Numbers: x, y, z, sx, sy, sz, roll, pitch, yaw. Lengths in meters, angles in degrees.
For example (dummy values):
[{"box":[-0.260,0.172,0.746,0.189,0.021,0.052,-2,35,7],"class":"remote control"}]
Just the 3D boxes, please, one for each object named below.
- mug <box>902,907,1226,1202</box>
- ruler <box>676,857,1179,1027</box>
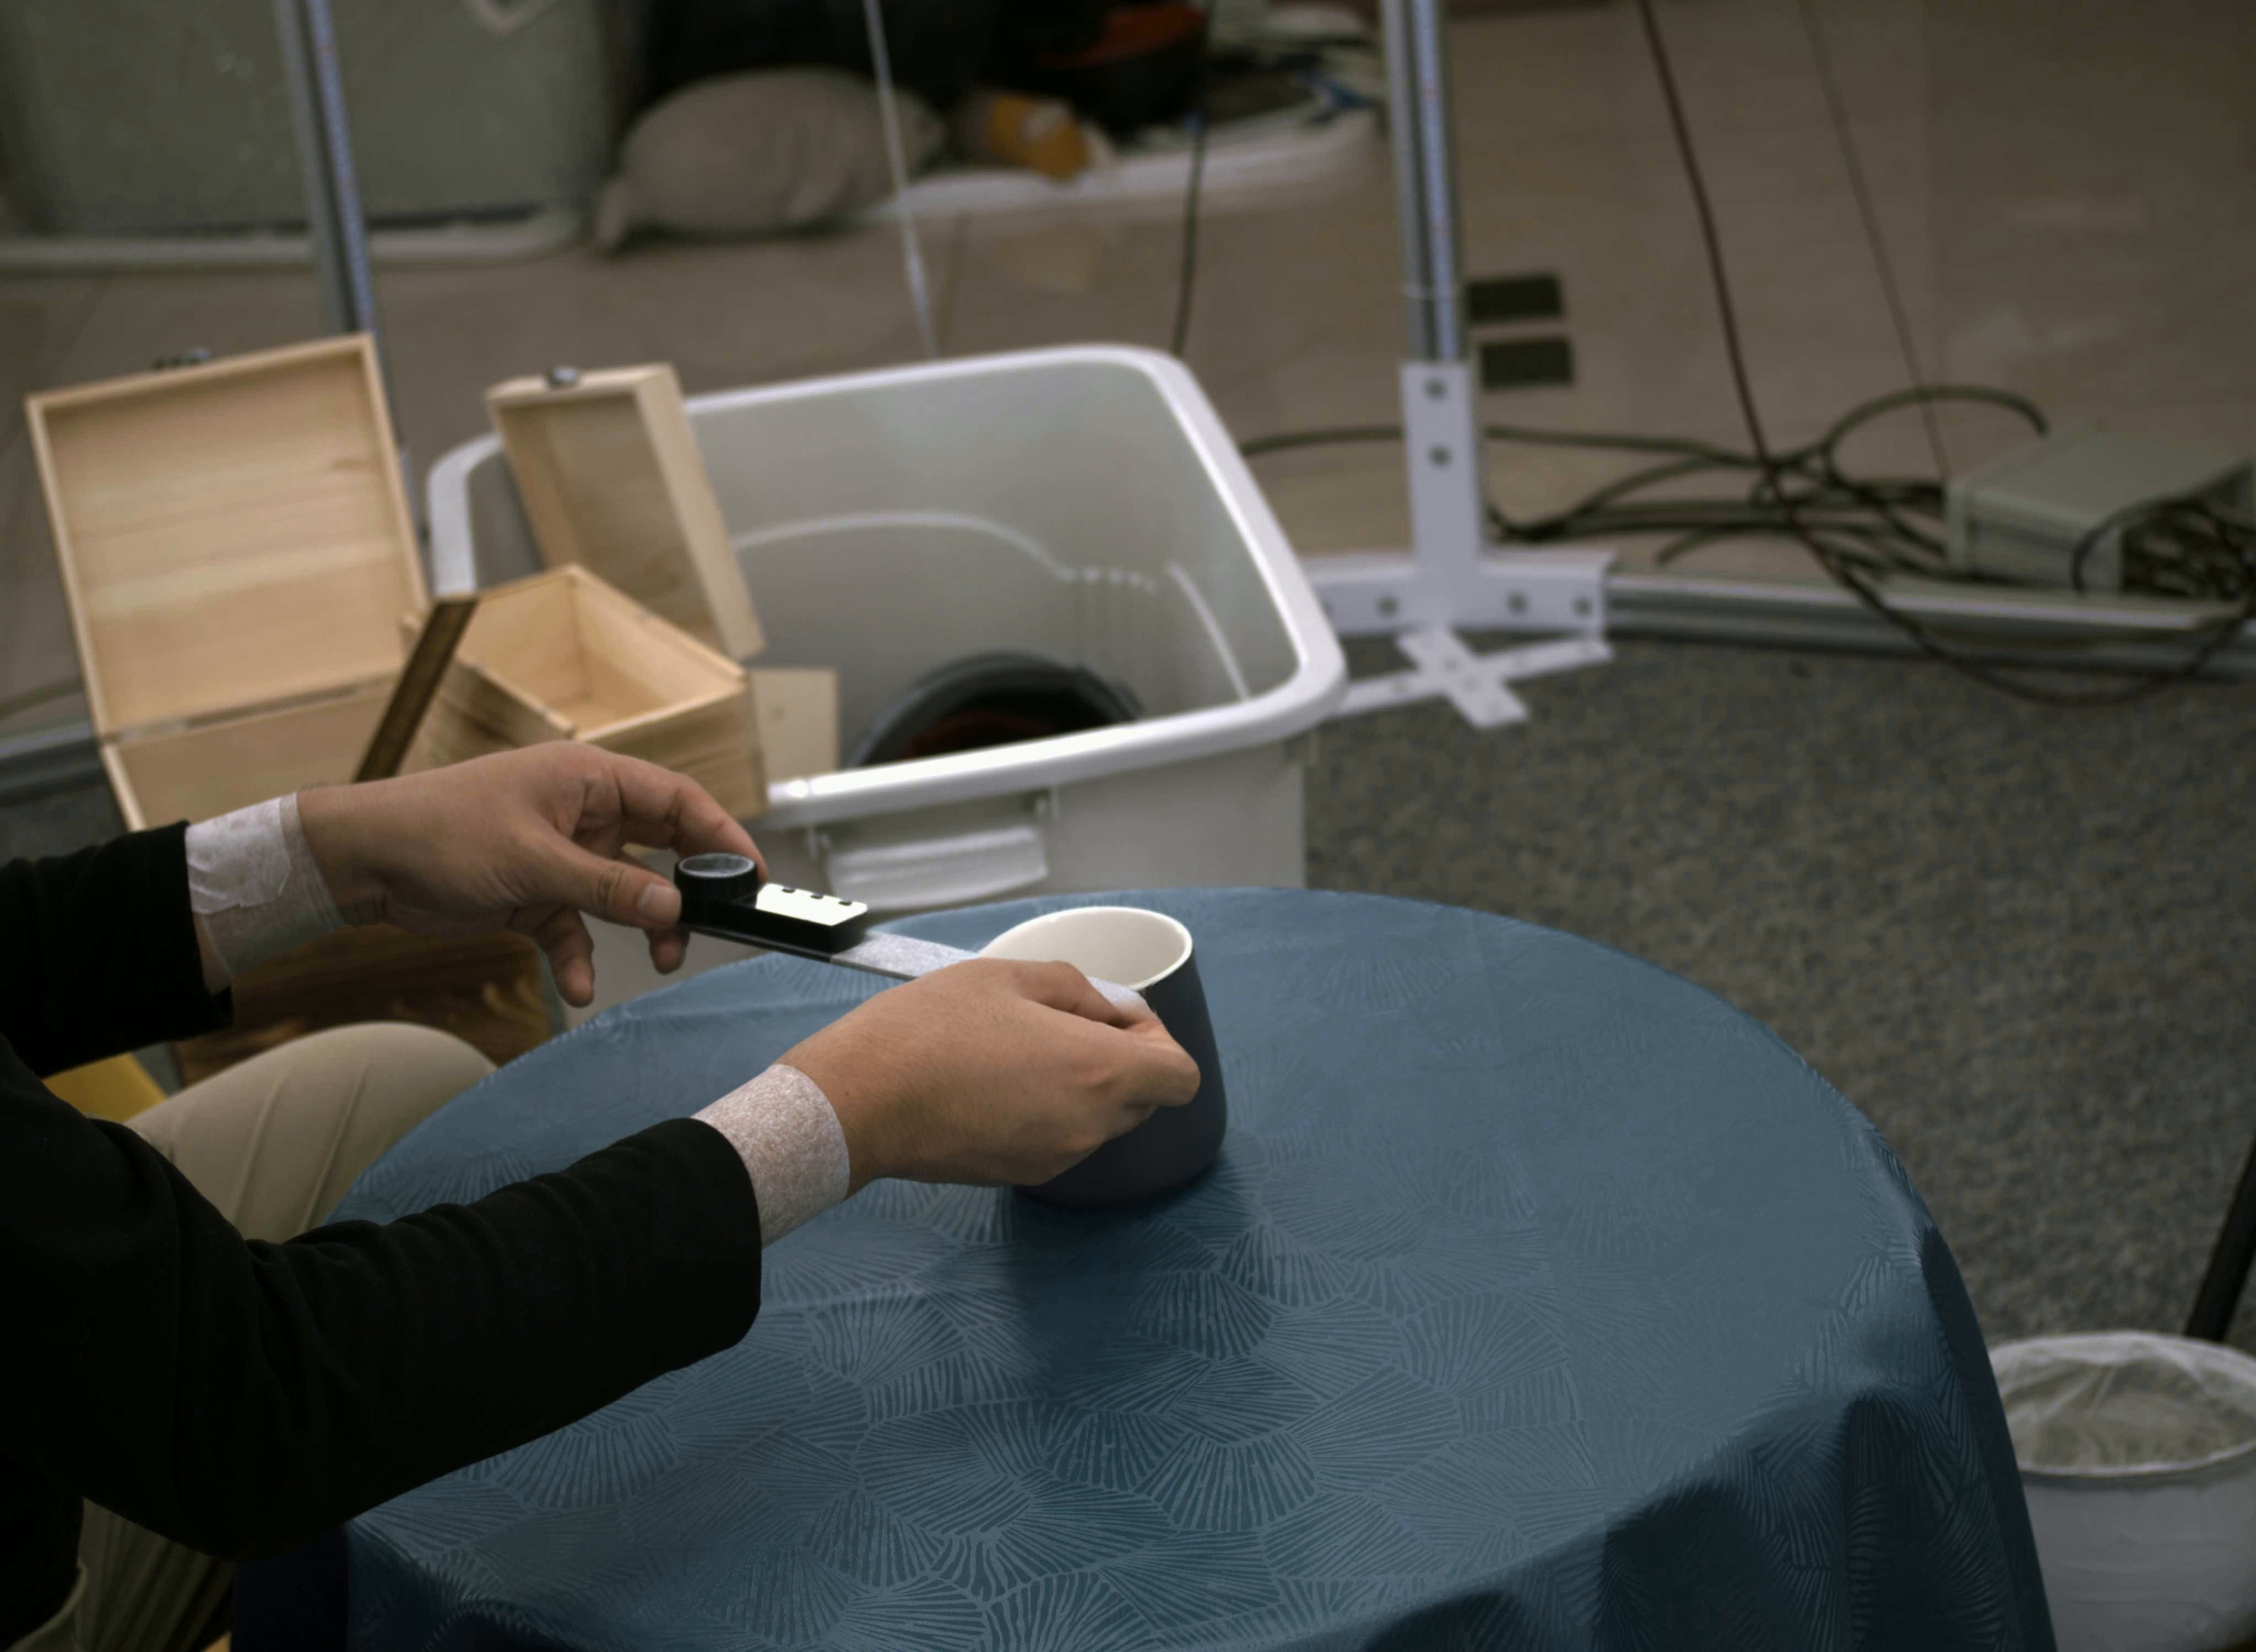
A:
[{"box":[-0.026,0.089,2.149,0.123,0.091,0.092,-11,25,-12],"class":"mug"},{"box":[-0.081,0.042,2.124,0.217,0.024,0.038,10,29,33],"class":"ruler"}]
